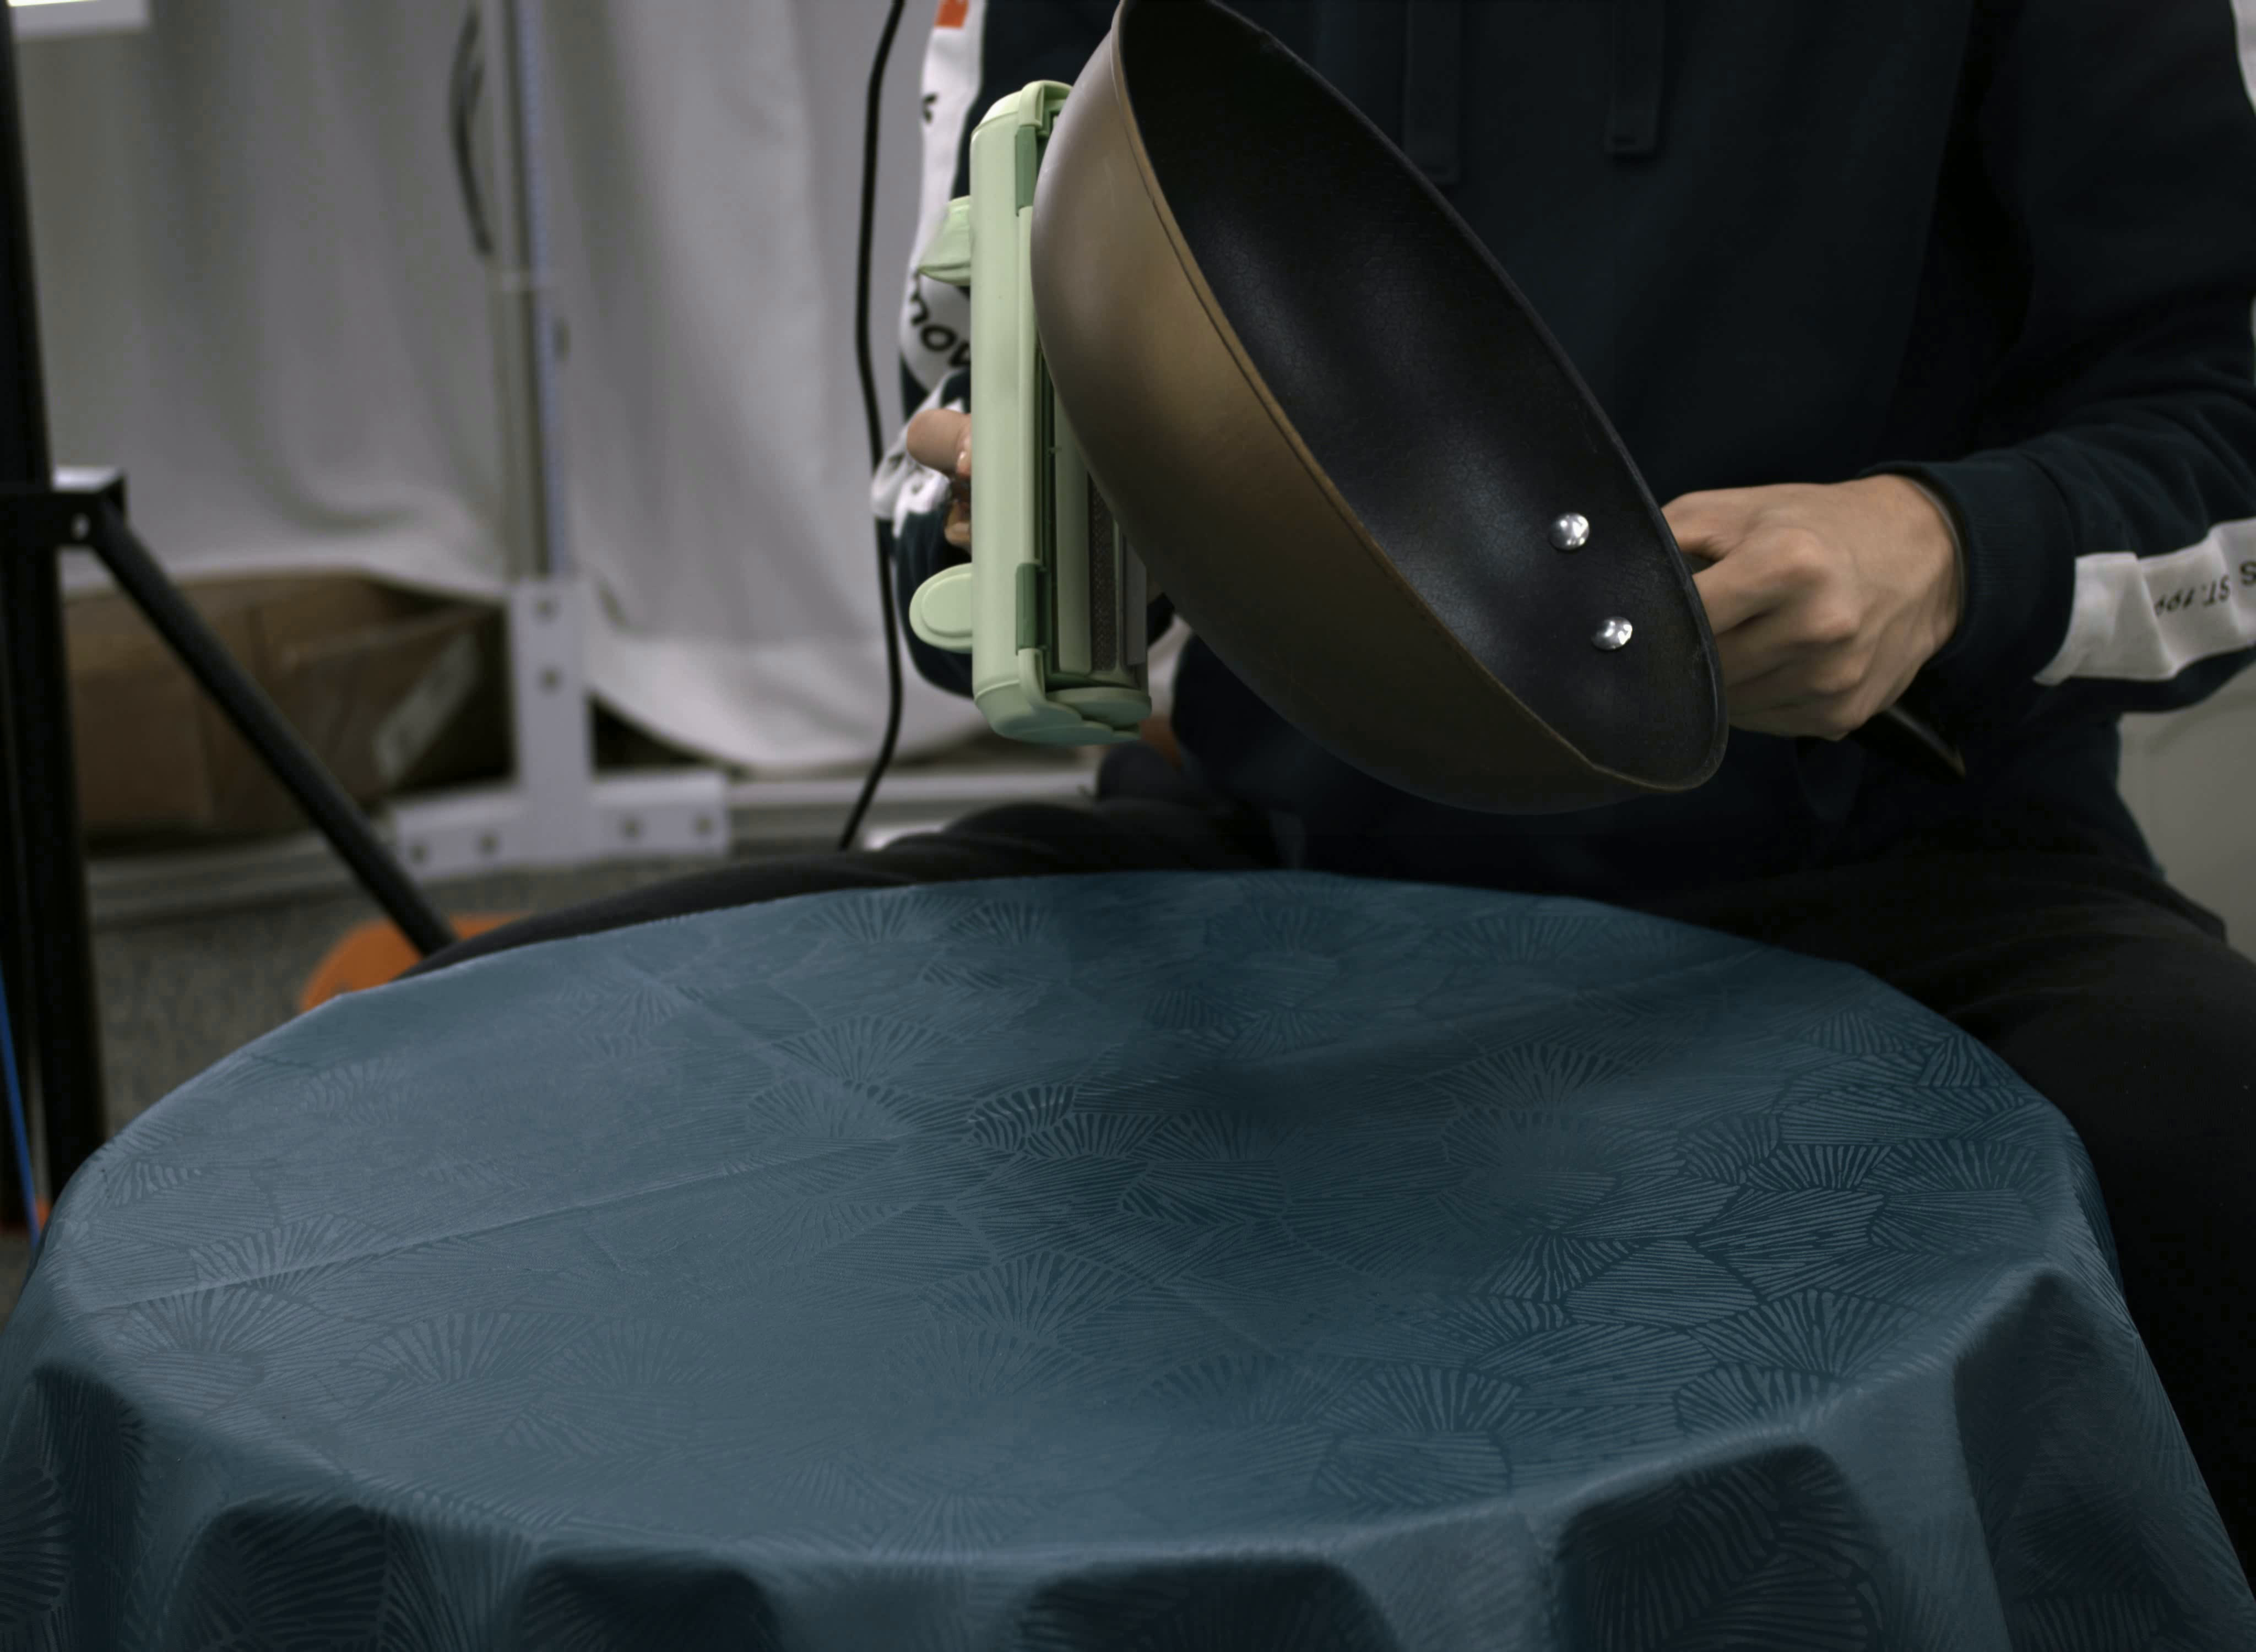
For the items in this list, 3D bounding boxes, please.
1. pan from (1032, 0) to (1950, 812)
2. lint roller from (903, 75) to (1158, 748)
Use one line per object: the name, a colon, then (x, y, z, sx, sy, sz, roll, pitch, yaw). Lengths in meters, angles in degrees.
pan: (0.109, -0.081, 1.601, 0.087, 0.293, 0.451, -34, -37, 21)
lint roller: (-0.028, -0.112, 1.660, 0.082, 0.200, 0.183, -1, -12, -2)
